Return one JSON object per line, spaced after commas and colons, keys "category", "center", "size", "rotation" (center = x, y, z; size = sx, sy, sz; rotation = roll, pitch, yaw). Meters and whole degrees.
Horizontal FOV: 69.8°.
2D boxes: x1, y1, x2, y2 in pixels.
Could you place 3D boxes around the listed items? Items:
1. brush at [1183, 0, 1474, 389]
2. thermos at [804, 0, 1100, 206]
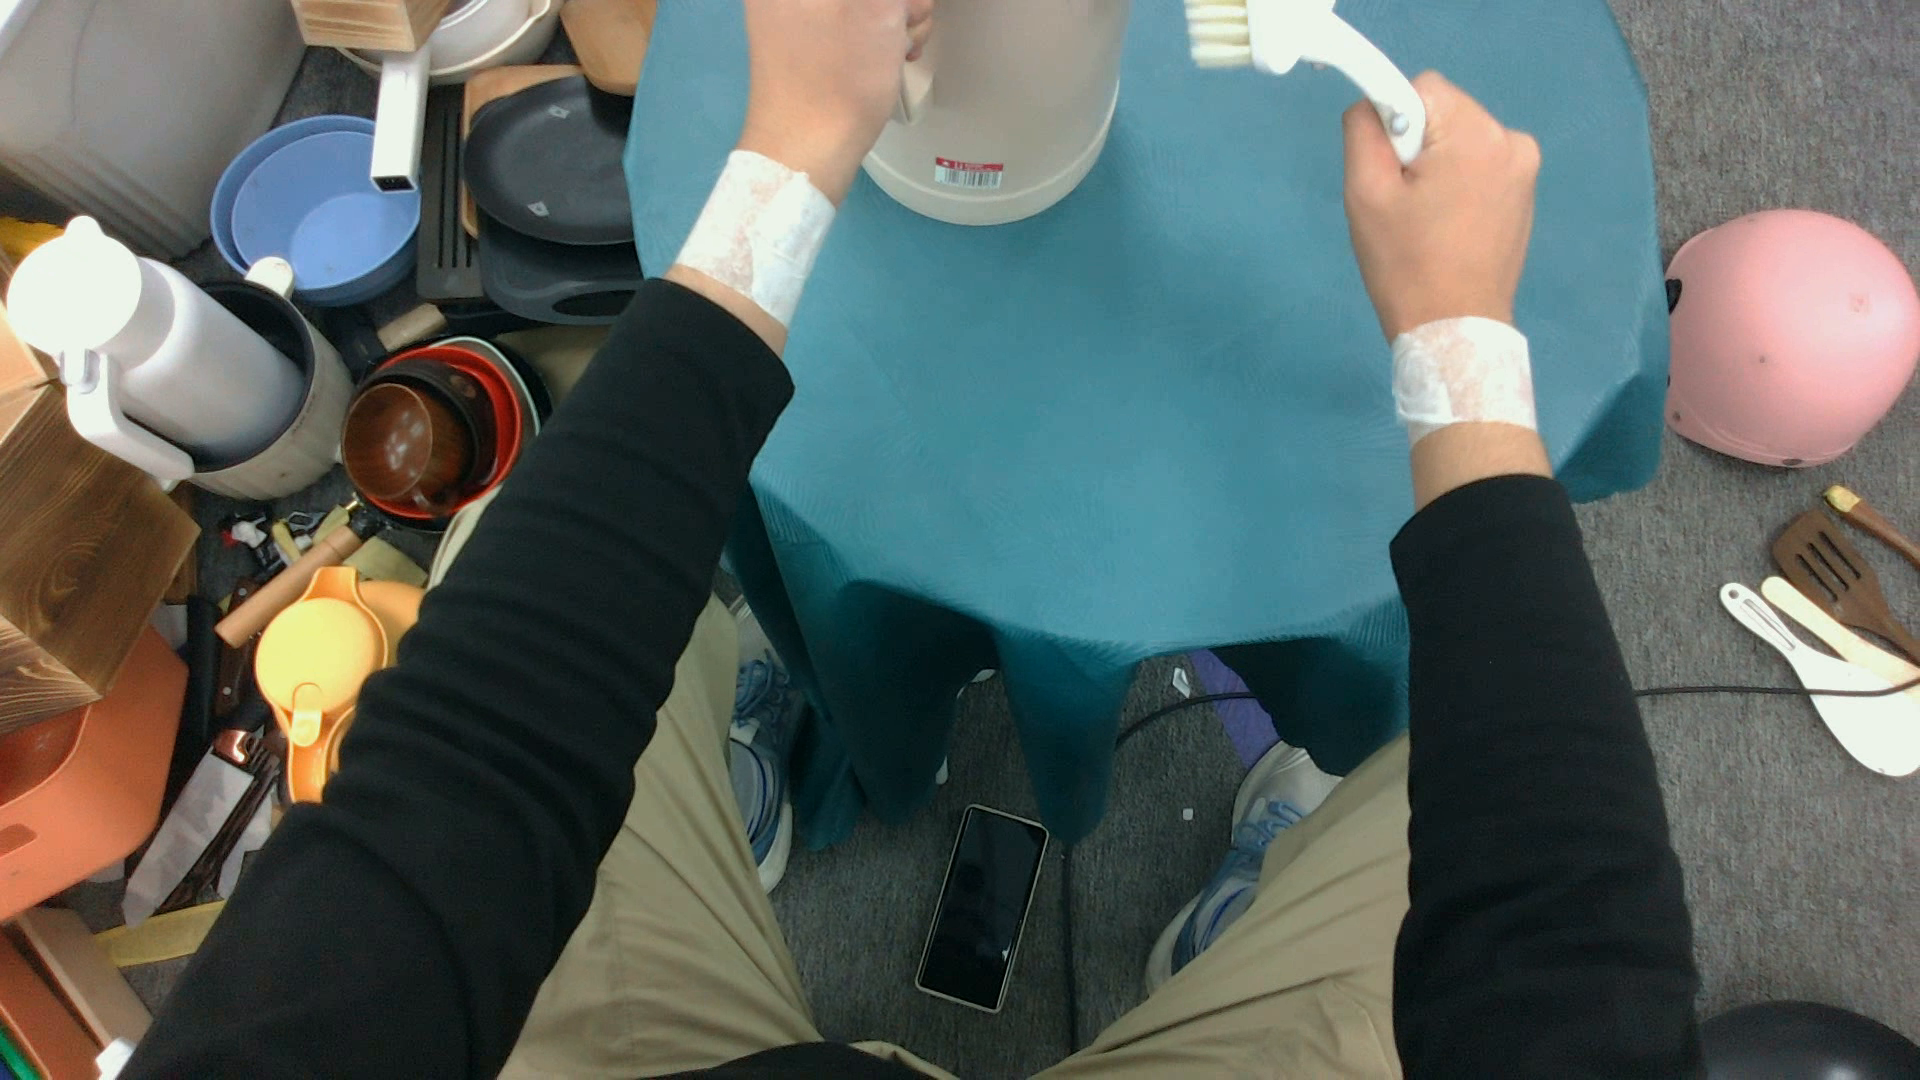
{"category": "brush", "center": [0.162, -0.193, 0.642], "size": [0.083, 0.324, 0.085], "rotation": [-26, 40, 8]}
{"category": "thermos", "center": [-0.007, -0.300, 0.613], "size": [0.175, 0.405, 0.207], "rotation": [26, 77, 3]}
